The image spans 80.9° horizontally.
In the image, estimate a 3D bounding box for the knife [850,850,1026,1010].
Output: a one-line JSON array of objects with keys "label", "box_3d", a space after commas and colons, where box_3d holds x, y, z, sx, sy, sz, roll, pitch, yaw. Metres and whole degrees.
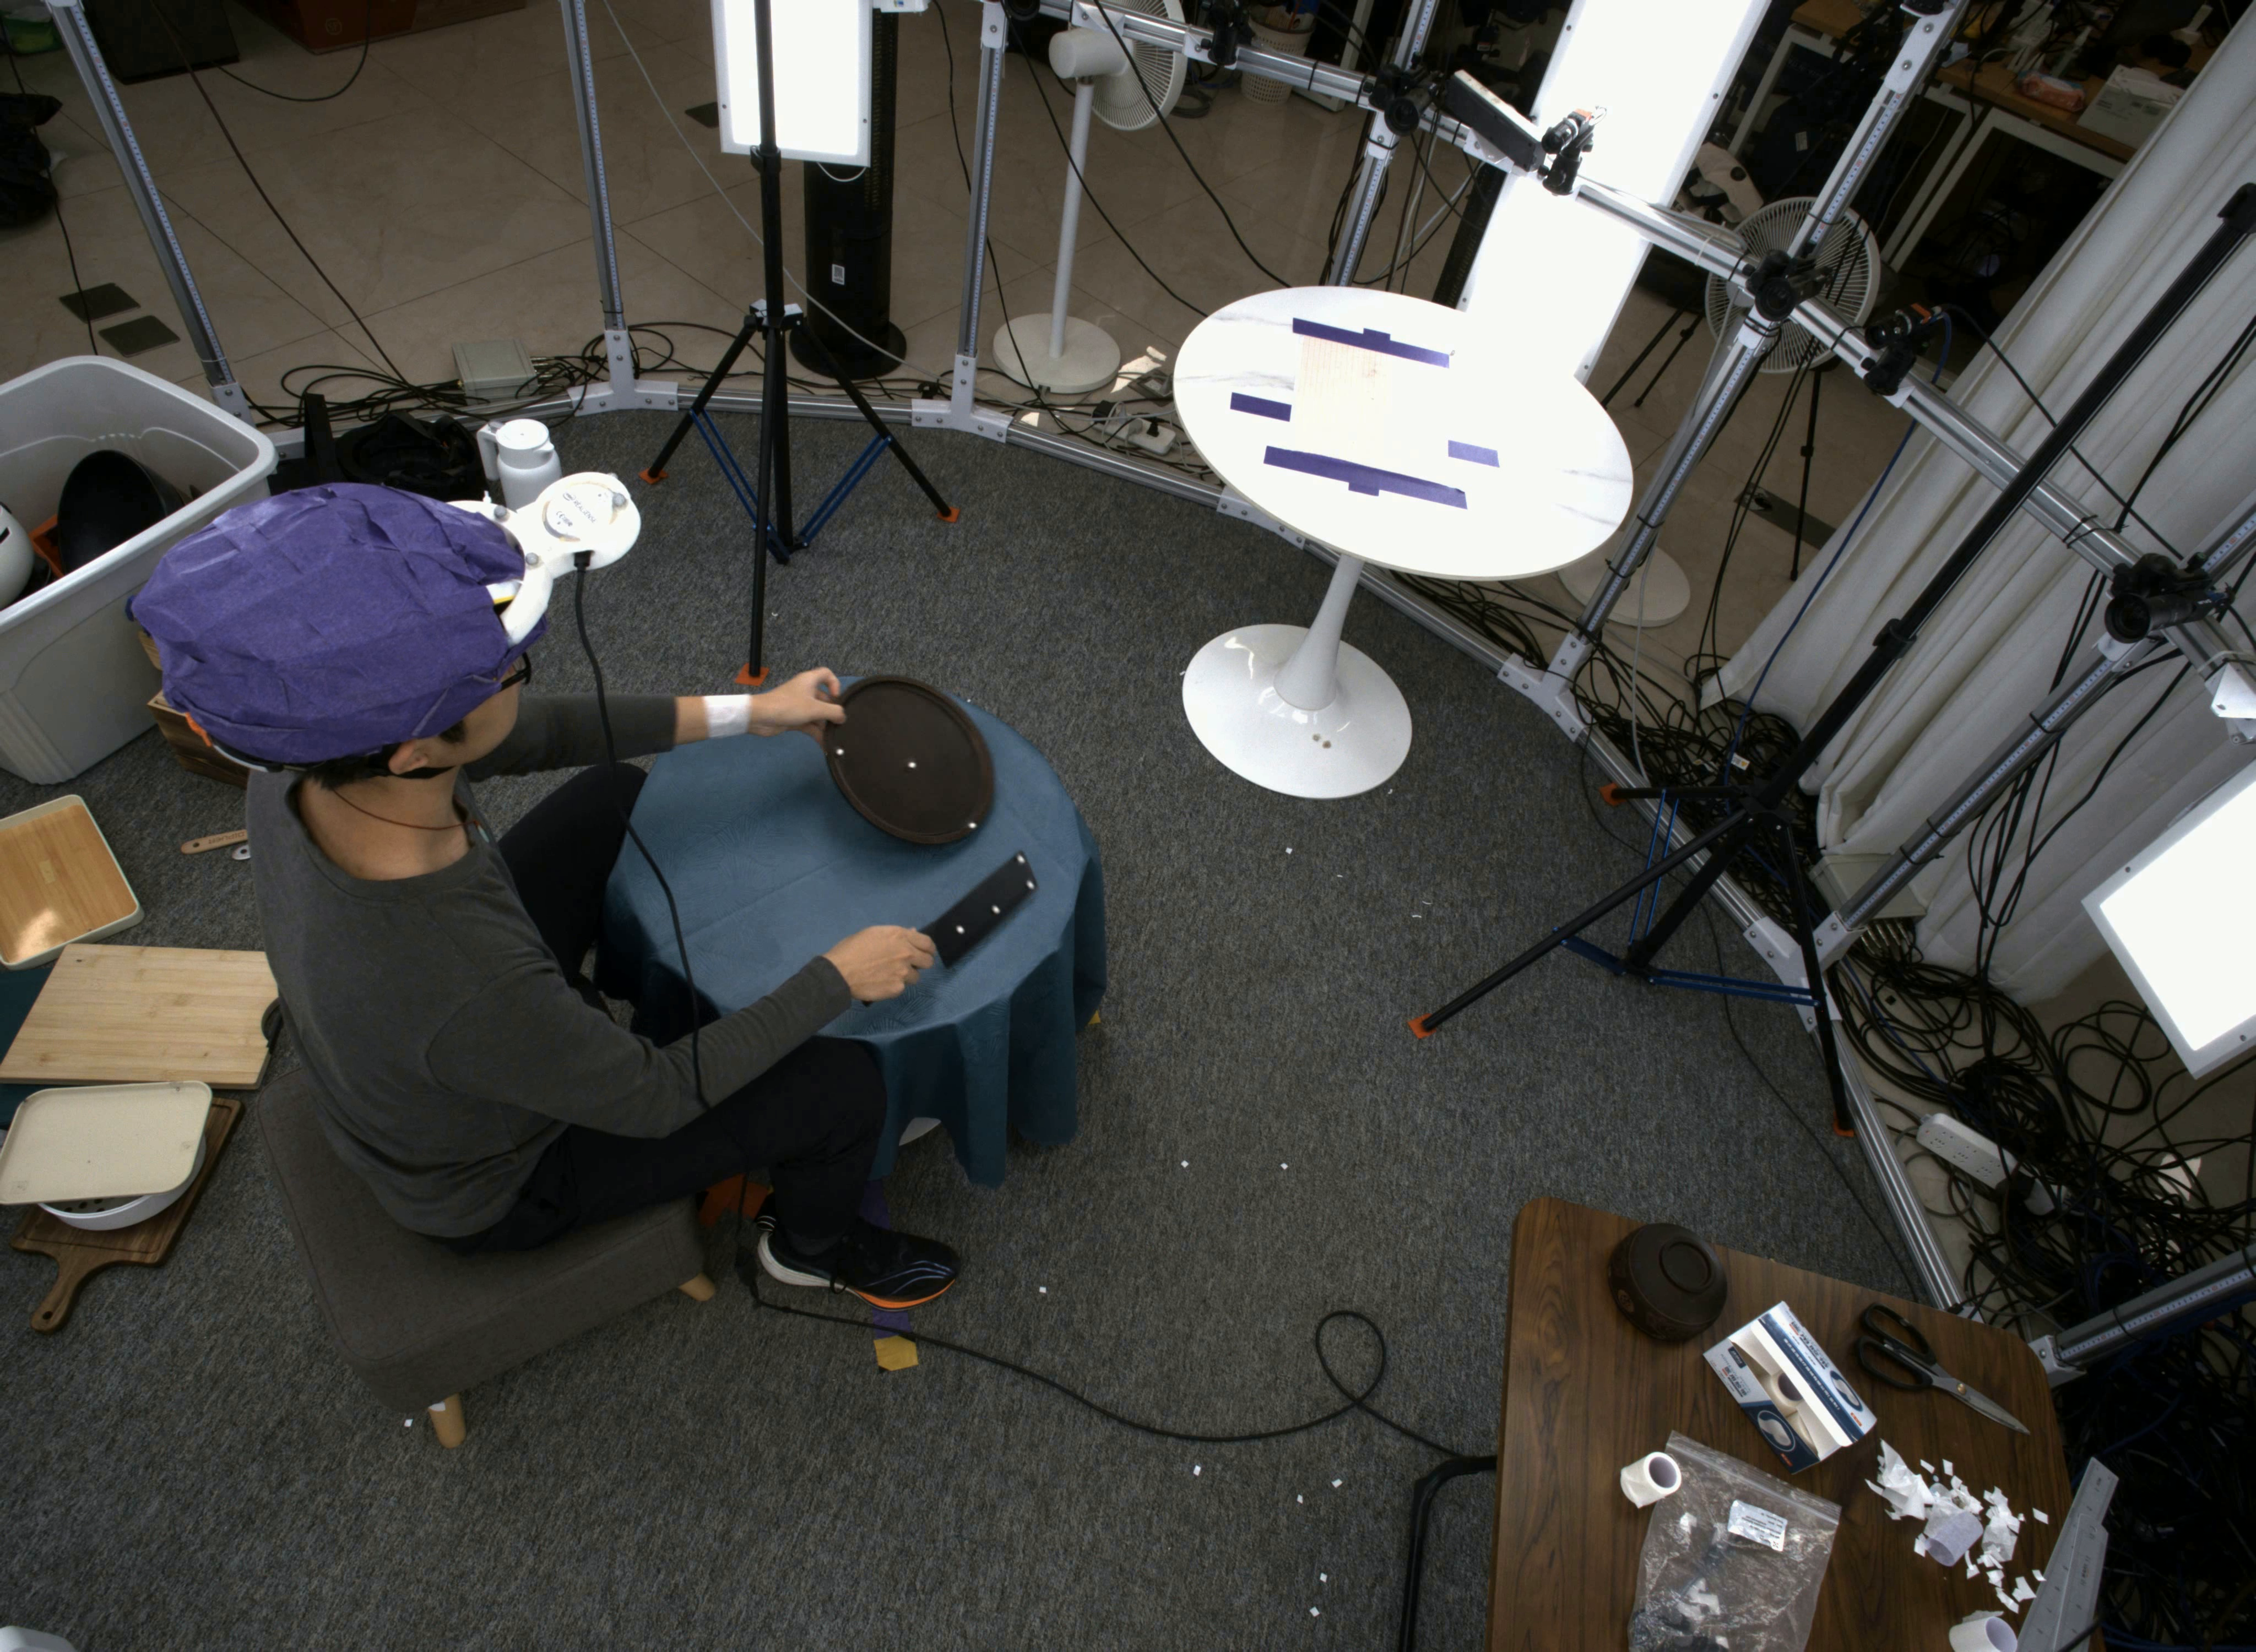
[{"label": "knife", "box_3d": [-0.234, 0.134, 1.632, 0.020, 0.083, 0.303, 4, 30, 42]}]

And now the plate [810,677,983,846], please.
[{"label": "plate", "box_3d": [-0.312, -0.087, 1.754, 0.261, 0.029, 0.251, 22, 54, -31]}]
